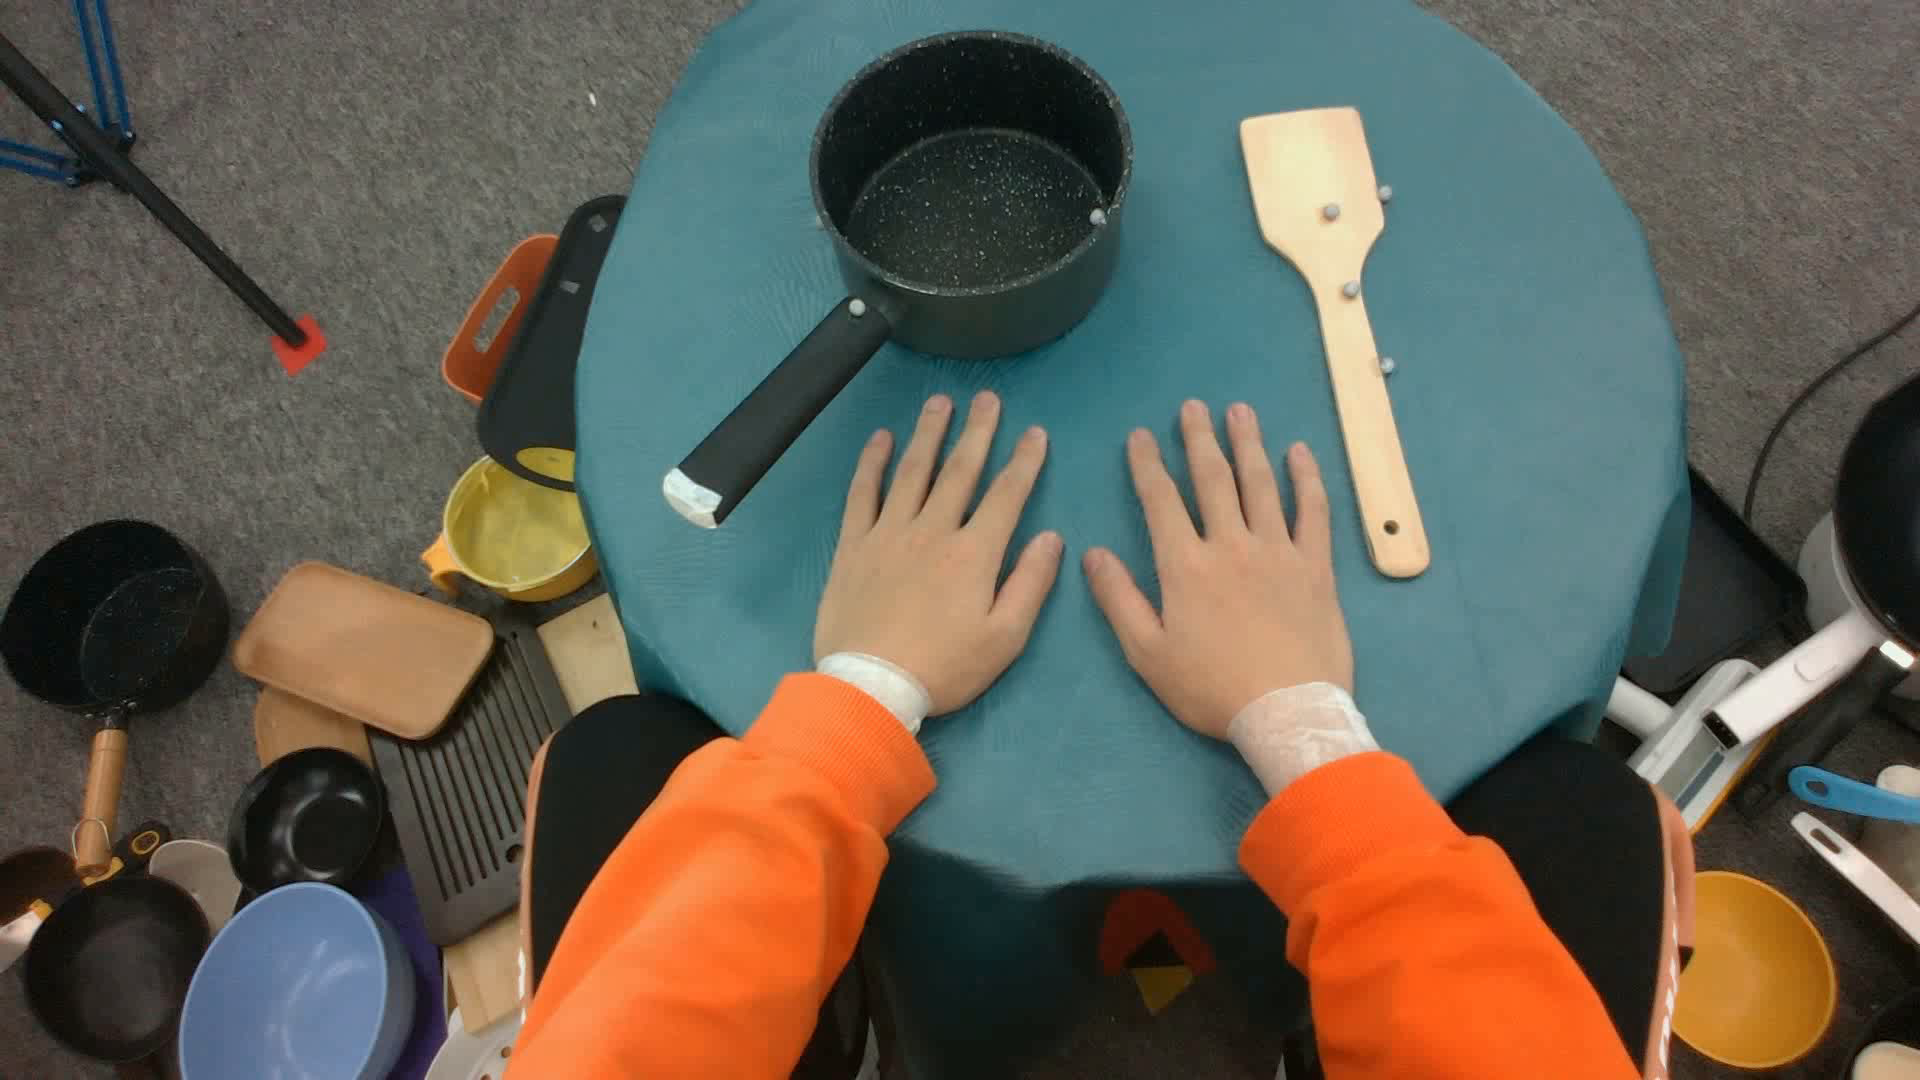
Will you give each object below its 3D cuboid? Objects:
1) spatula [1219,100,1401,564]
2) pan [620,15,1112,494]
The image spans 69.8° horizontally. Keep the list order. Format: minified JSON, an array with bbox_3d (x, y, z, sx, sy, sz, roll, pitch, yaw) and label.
[{"bbox_3d":[0.198,-0.122,0.749,0.072,0.010,0.294,-4,66,-2],"label":"spatula"},{"bbox_3d":[-0.050,-0.137,0.731,0.172,0.086,0.330,33,70,17],"label":"pan"}]
